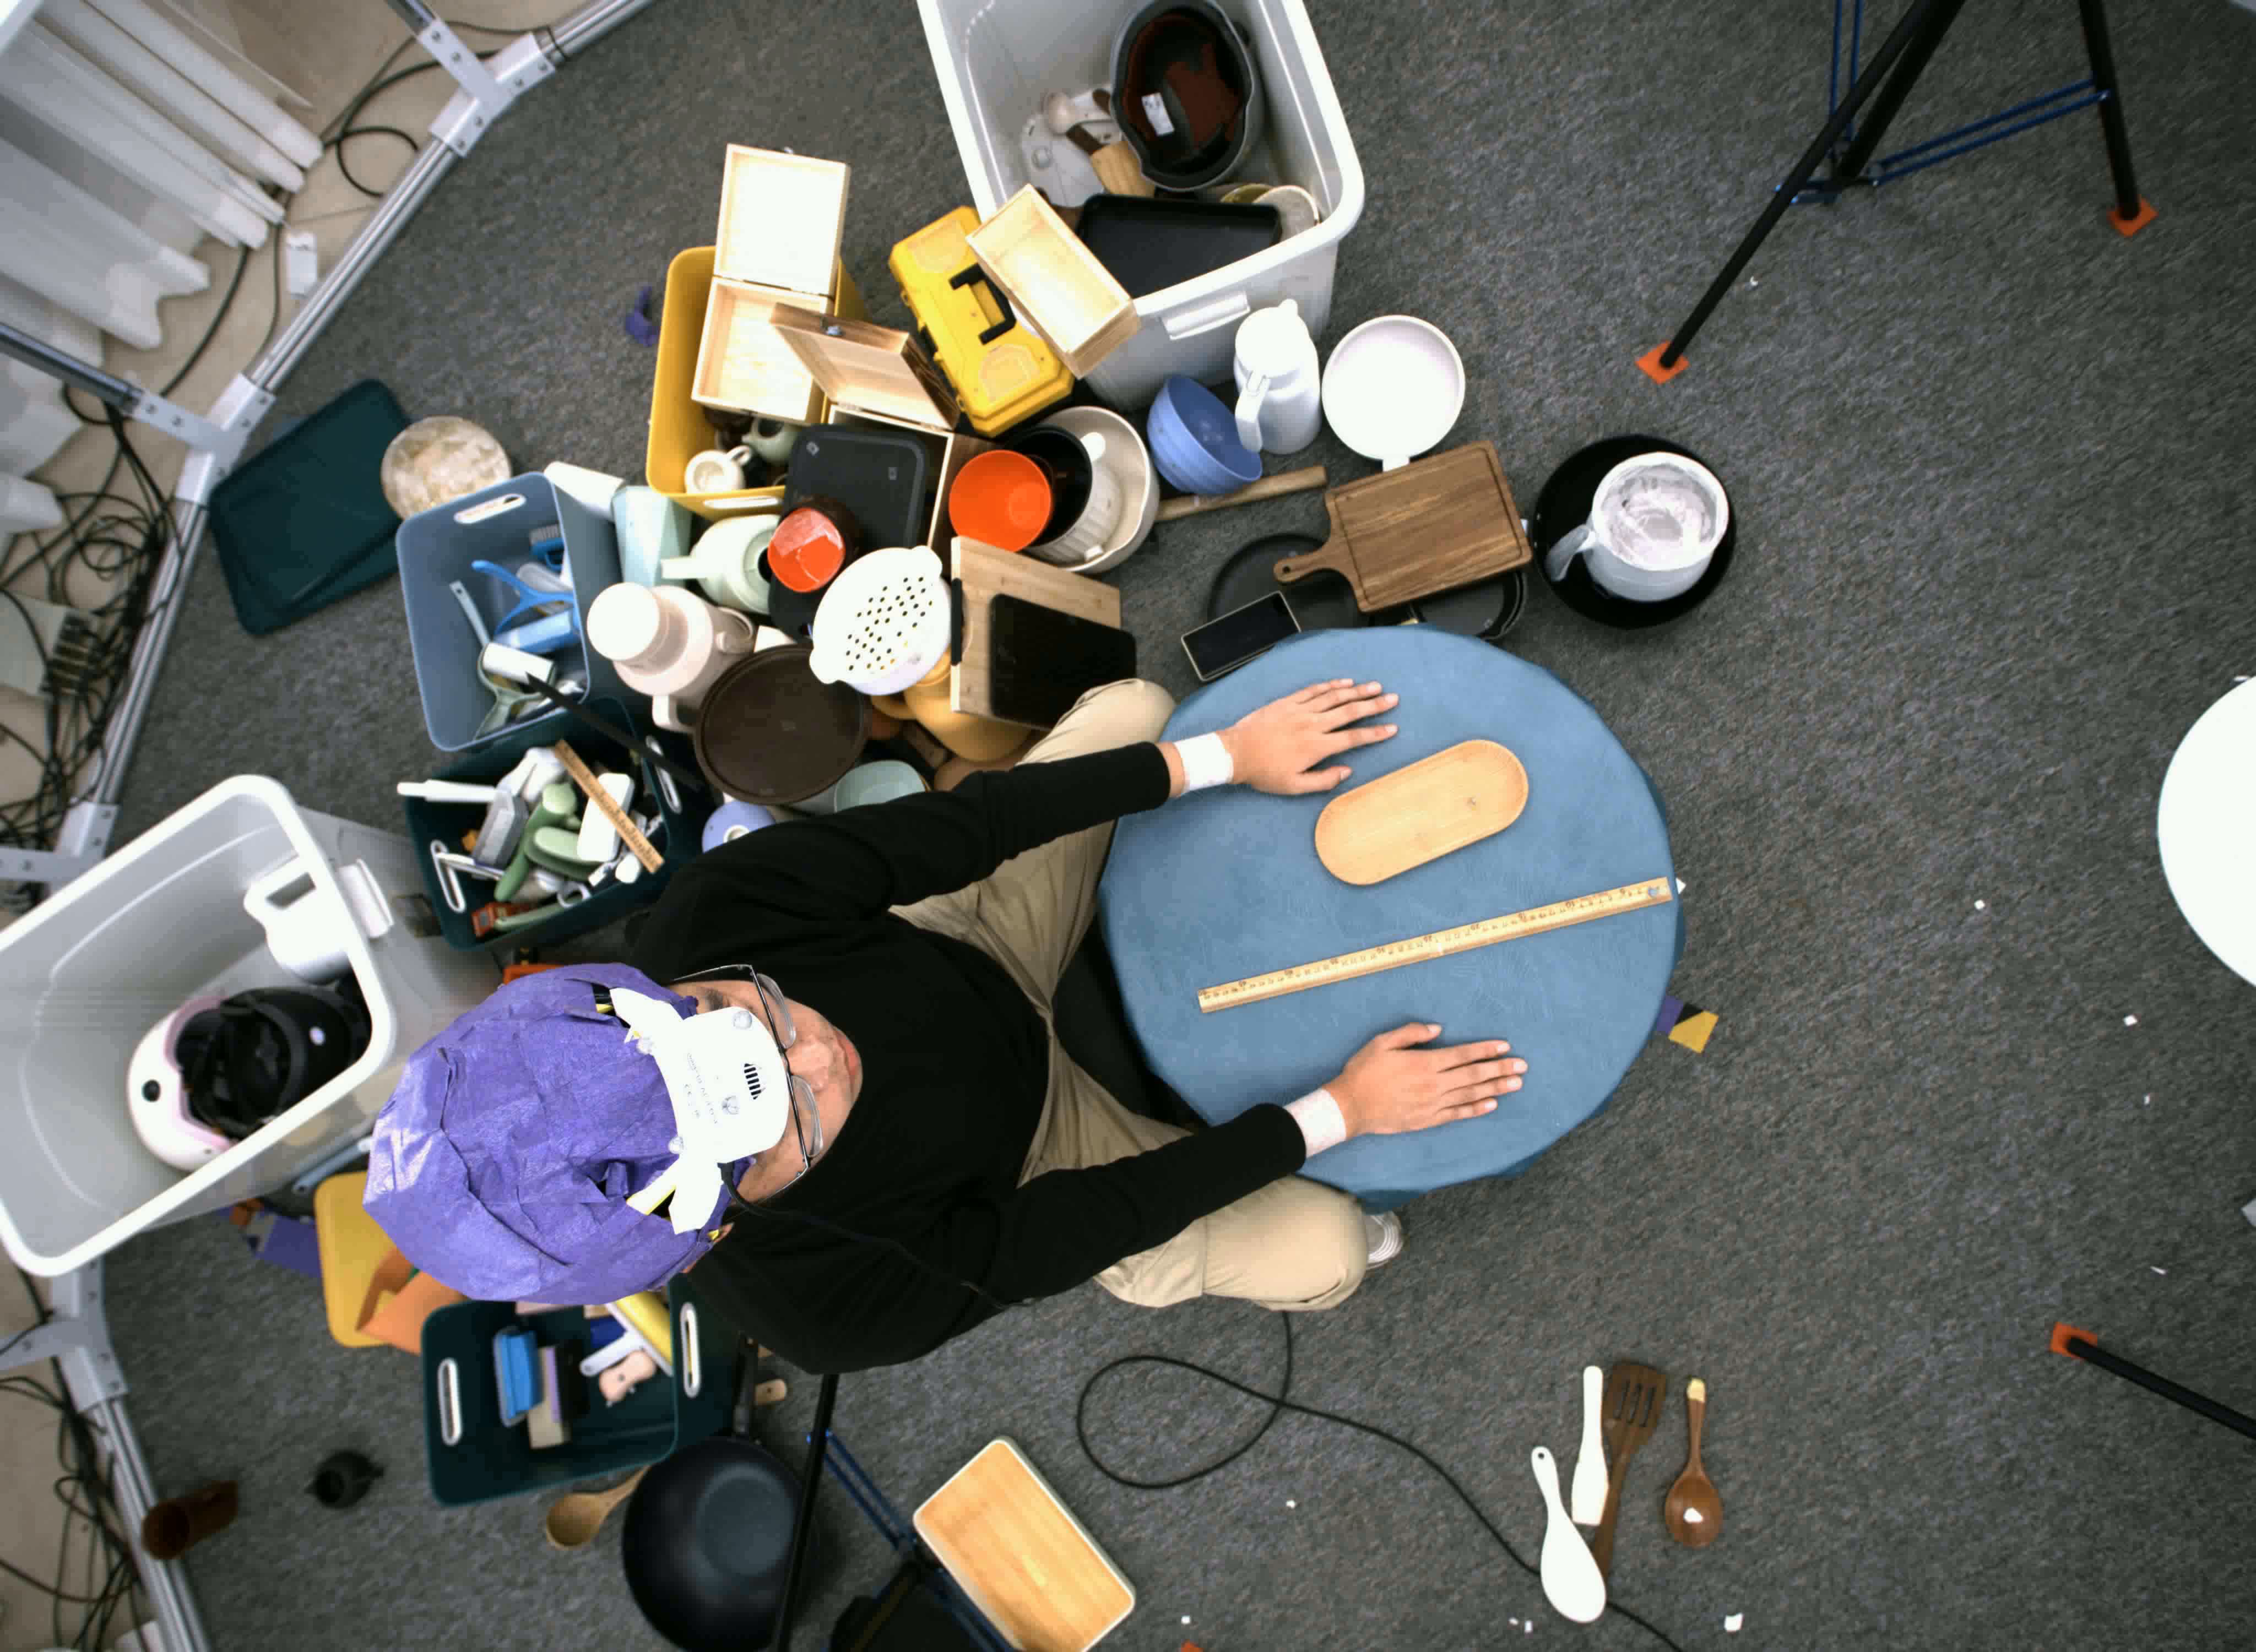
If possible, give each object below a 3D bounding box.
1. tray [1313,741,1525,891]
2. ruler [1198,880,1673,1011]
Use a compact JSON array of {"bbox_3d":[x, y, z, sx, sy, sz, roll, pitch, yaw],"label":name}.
[{"bbox_3d":[0.305,-0.011,1.450,0.233,0.020,0.101,-26,81,10],"label":"tray"},{"bbox_3d":[0.317,0.124,1.446,0.503,0.006,0.026,-14,82,10],"label":"ruler"}]
